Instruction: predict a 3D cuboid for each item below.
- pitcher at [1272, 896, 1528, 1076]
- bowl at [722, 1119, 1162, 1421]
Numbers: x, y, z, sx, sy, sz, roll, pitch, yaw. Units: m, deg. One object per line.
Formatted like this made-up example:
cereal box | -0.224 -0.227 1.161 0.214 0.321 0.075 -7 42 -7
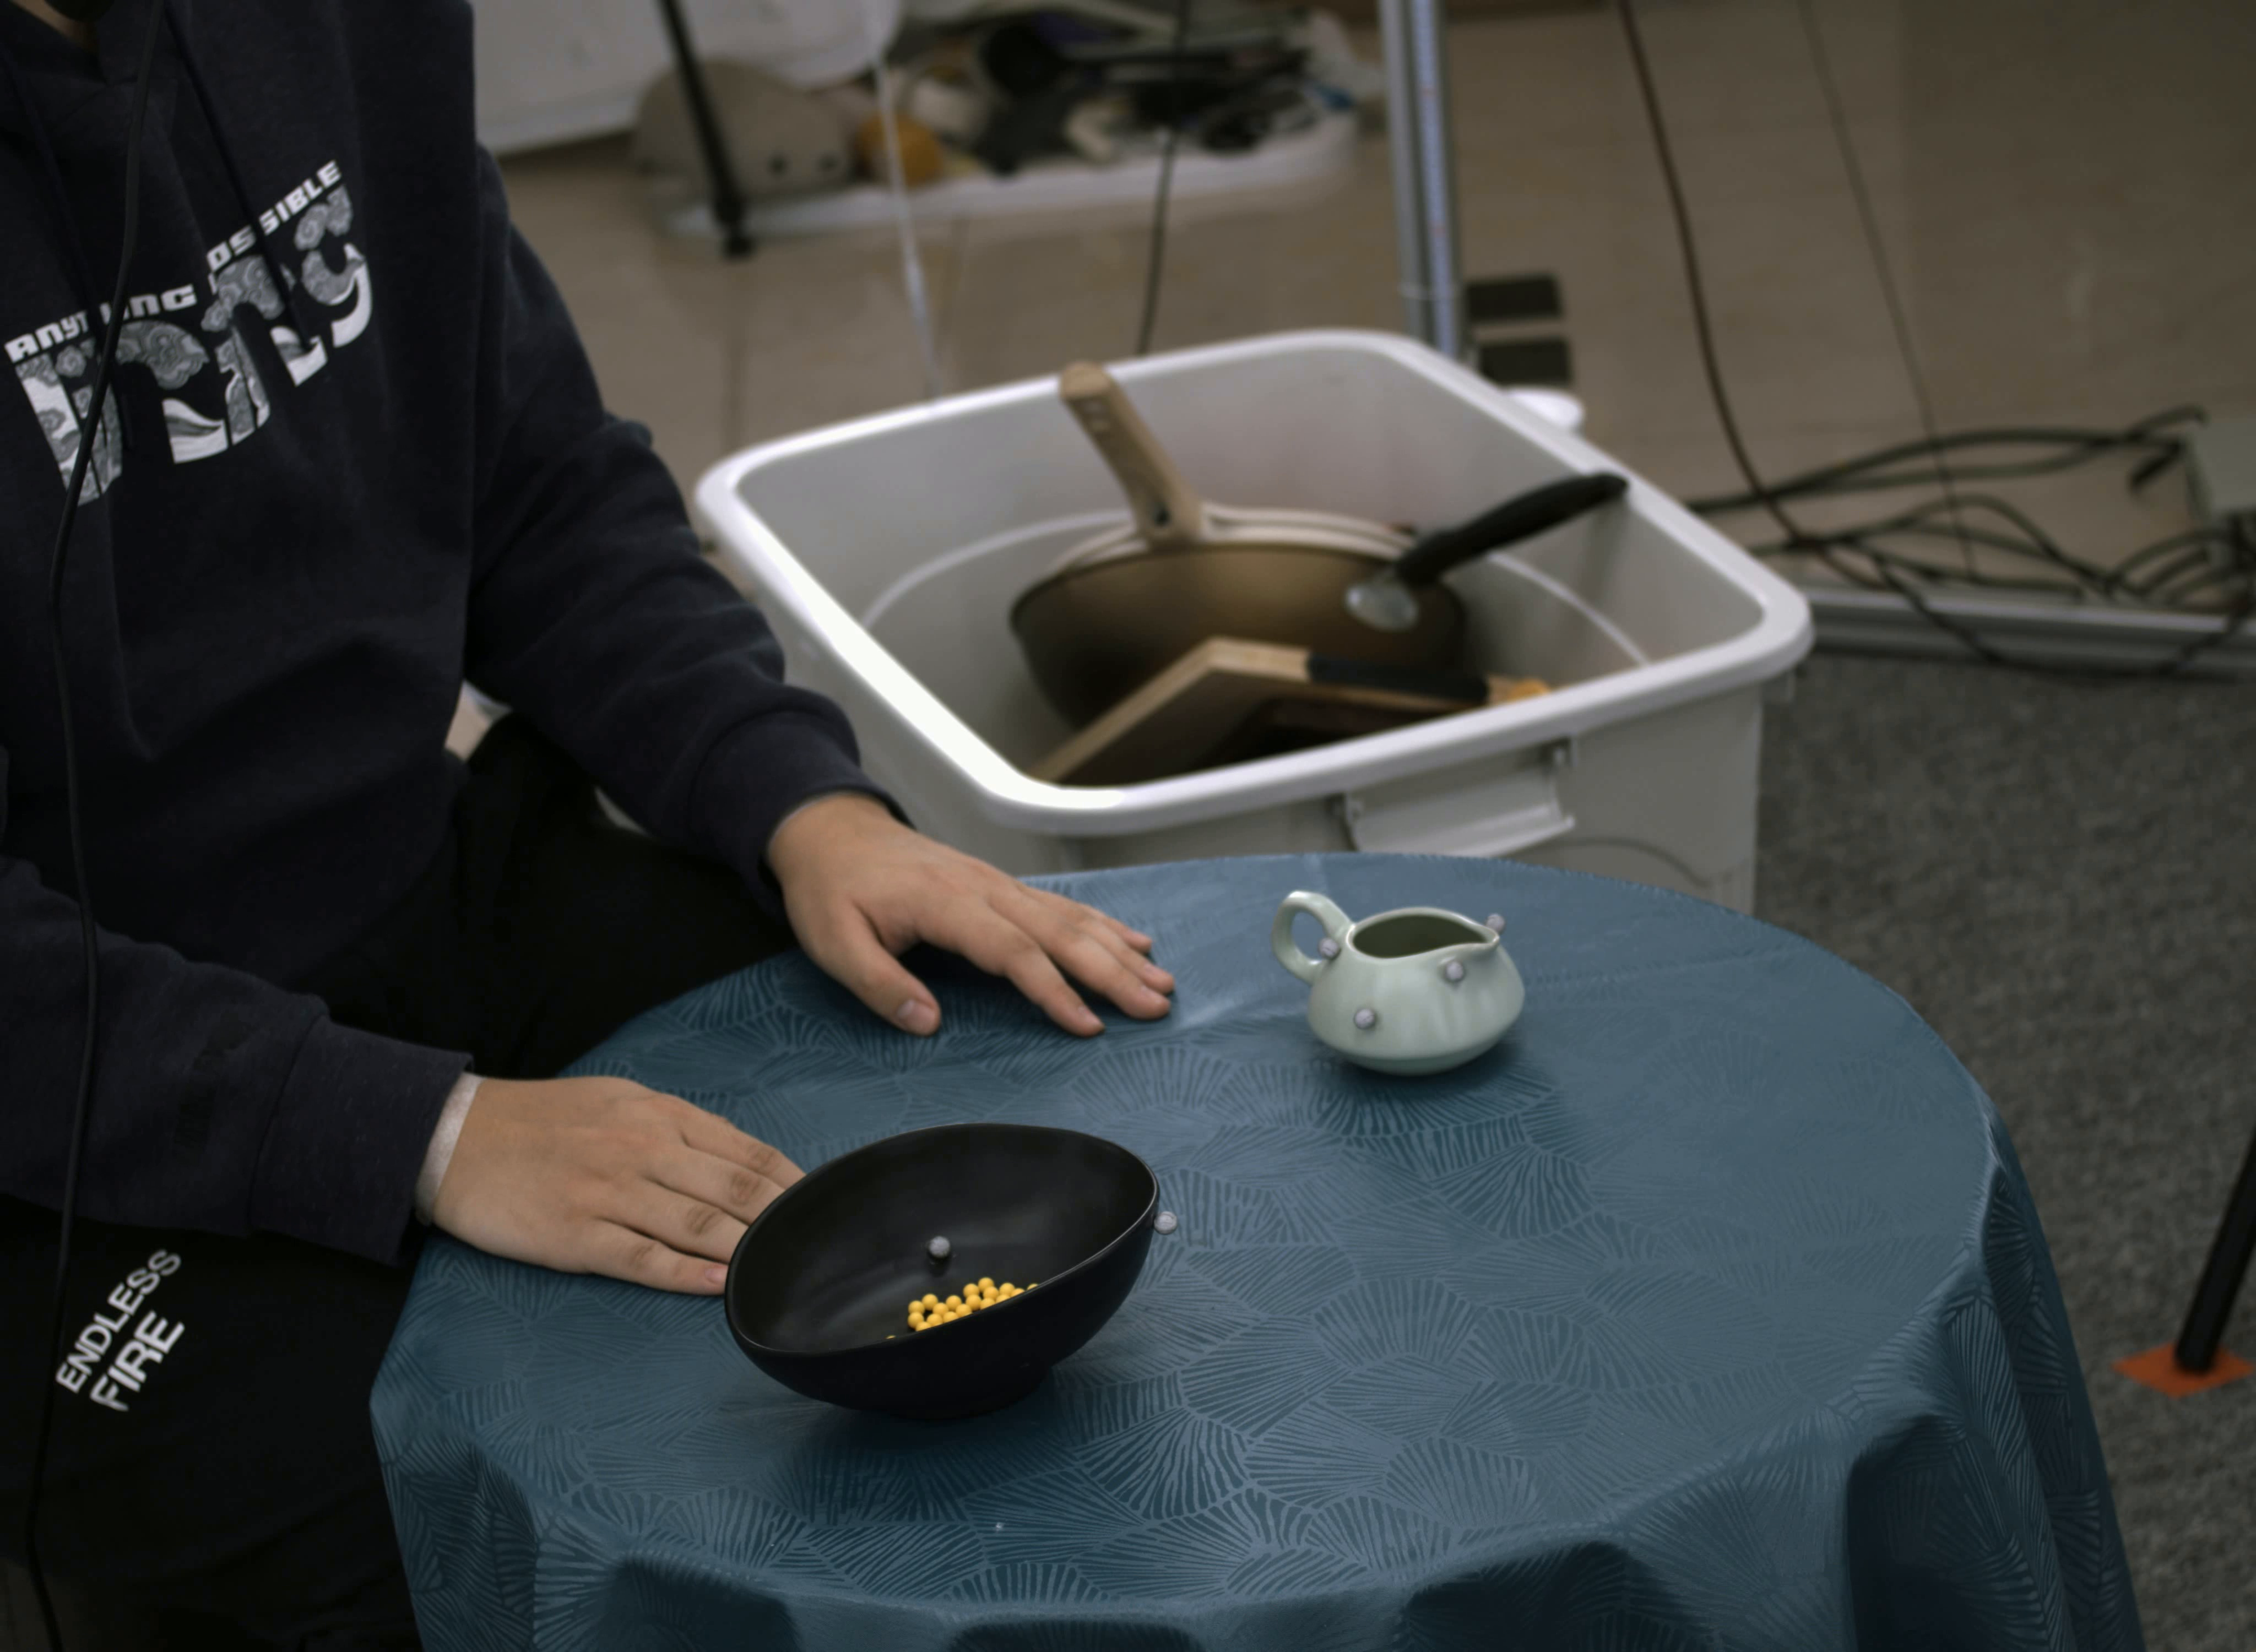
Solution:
pitcher | 0.103 0.061 2.226 0.107 0.061 0.085 9 28 34
bowl | -0.063 0.168 2.025 0.169 0.068 0.136 -26 30 -34
